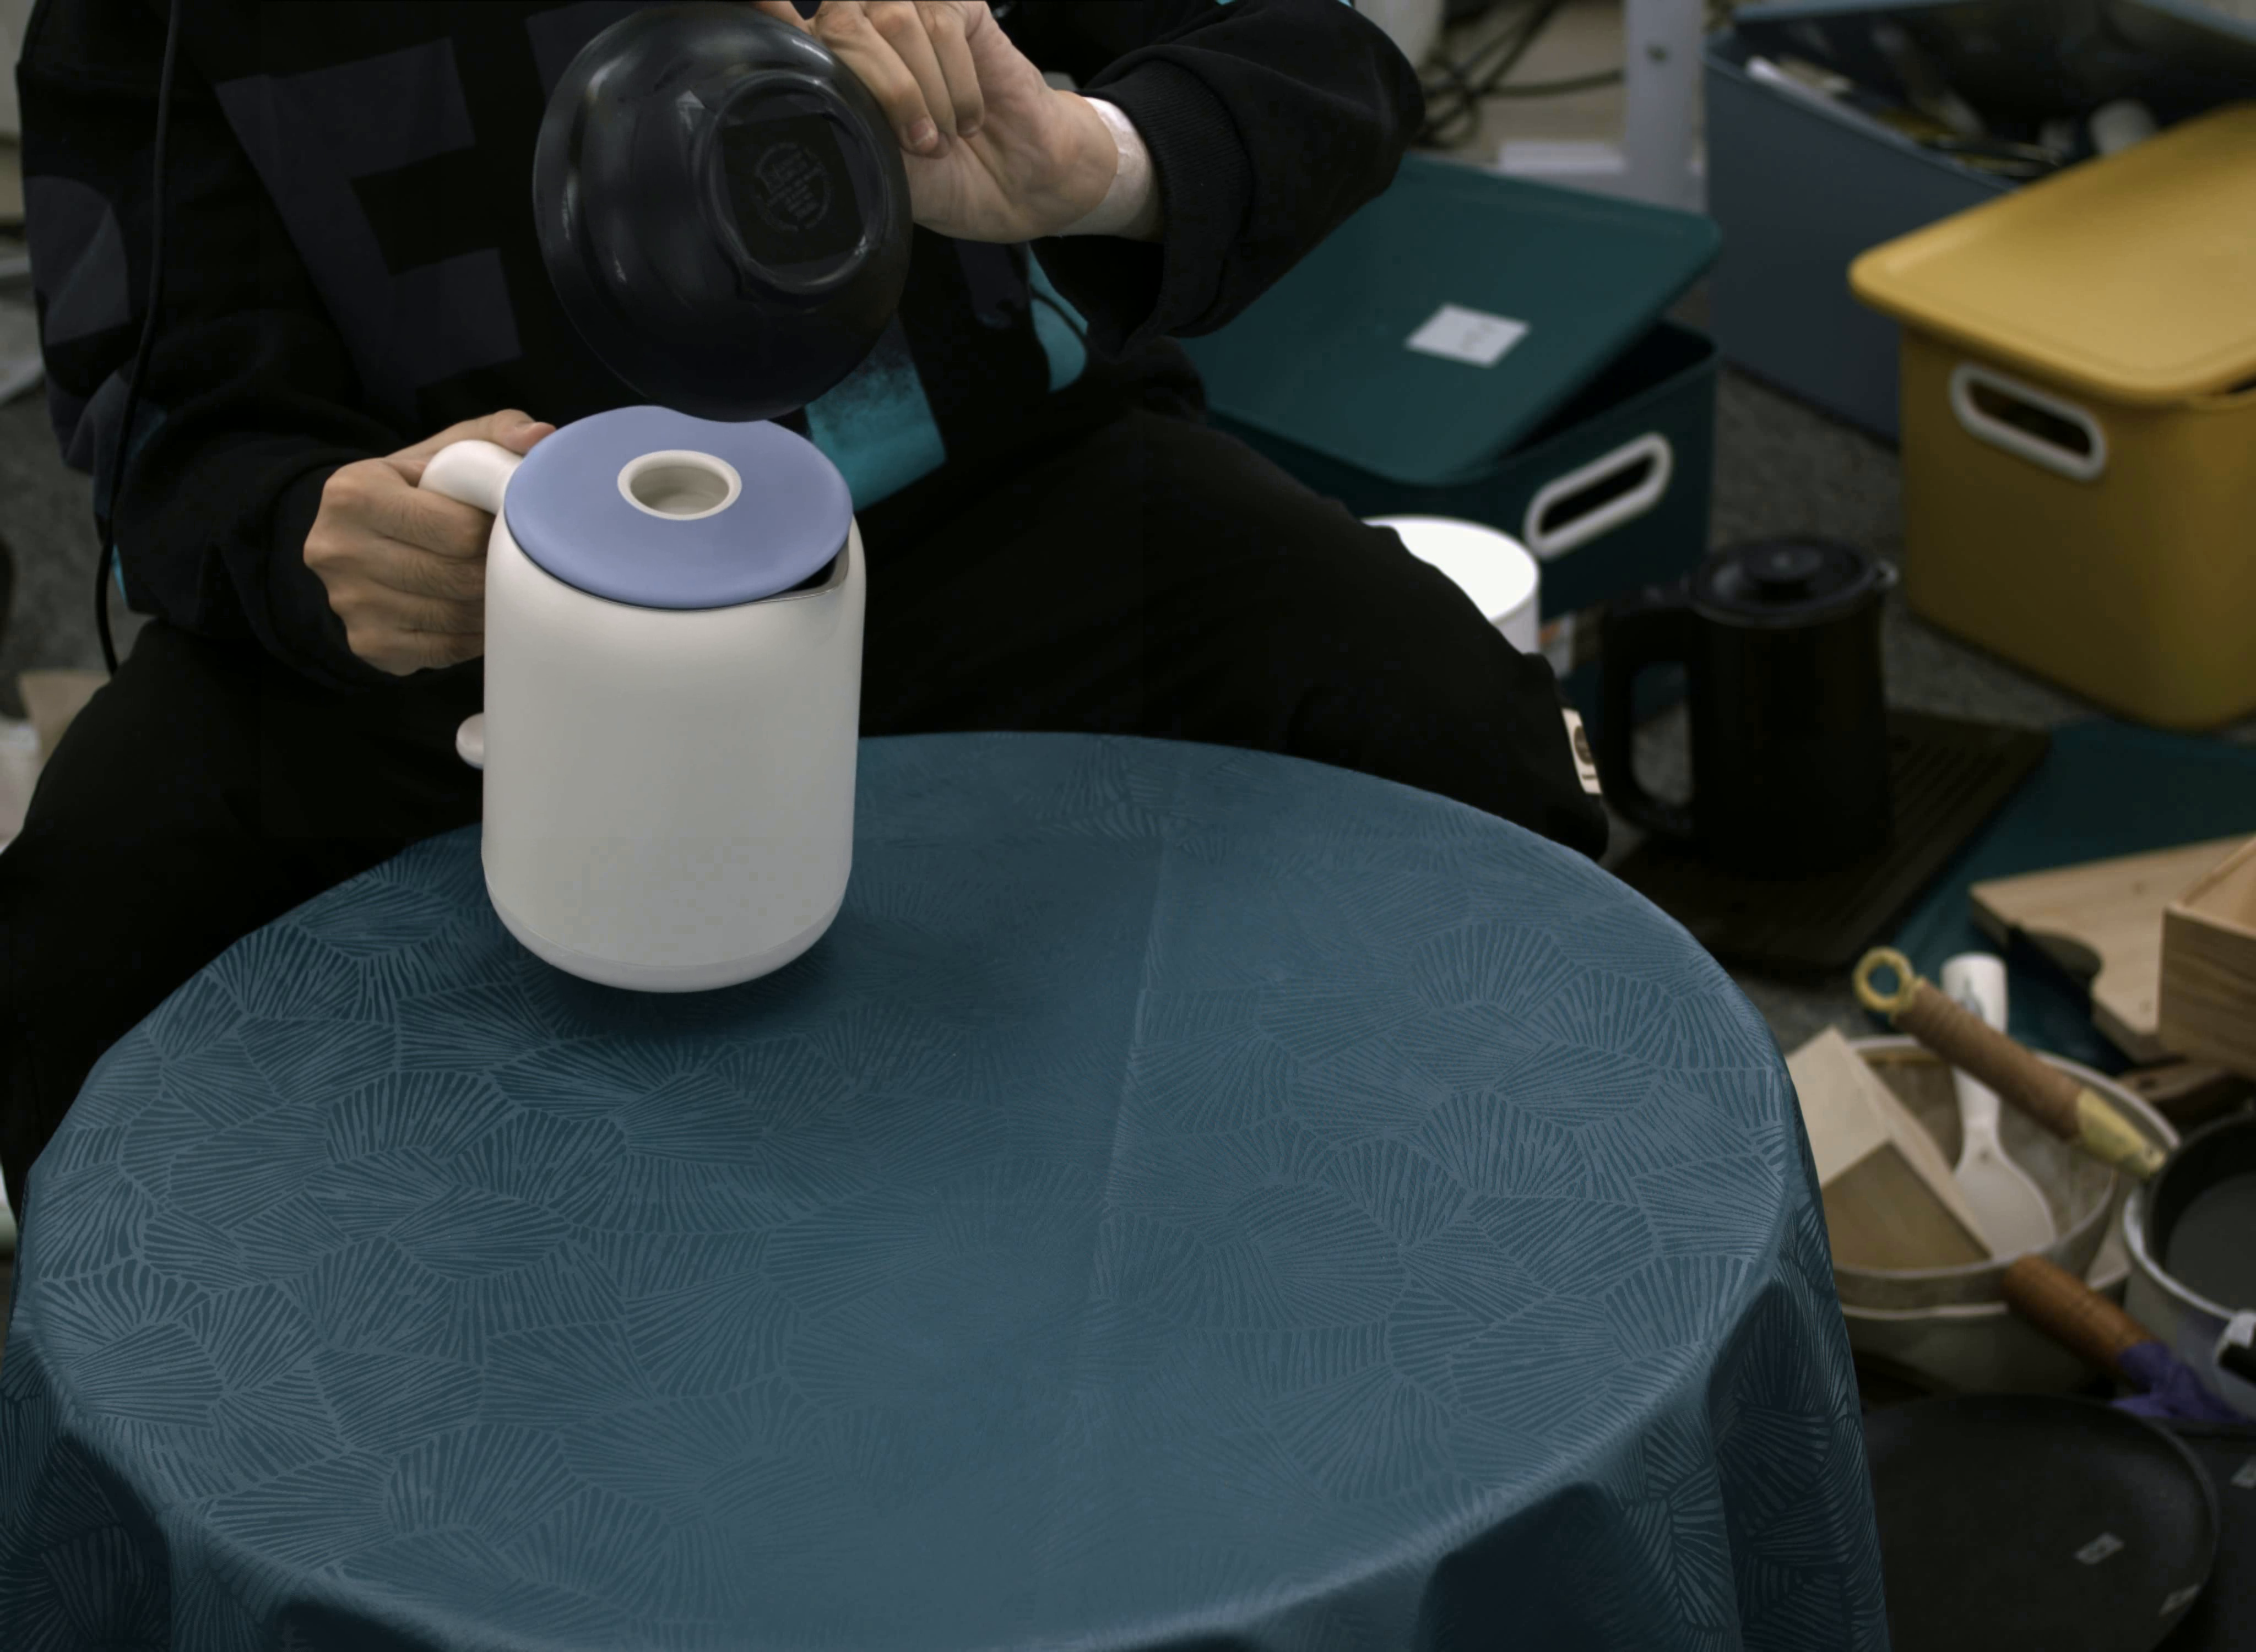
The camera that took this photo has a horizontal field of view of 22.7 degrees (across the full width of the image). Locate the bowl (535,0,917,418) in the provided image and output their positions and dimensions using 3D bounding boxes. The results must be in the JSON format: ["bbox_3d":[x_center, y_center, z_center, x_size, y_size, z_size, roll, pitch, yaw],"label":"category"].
[{"bbox_3d":[-0.120,-0.204,1.820,0.141,0.140,0.049,-25,7,-37],"label":"bowl"}]

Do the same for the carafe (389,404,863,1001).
[{"bbox_3d":[-0.179,-0.051,1.961,0.190,0.180,0.134,21,36,25],"label":"carafe"}]
